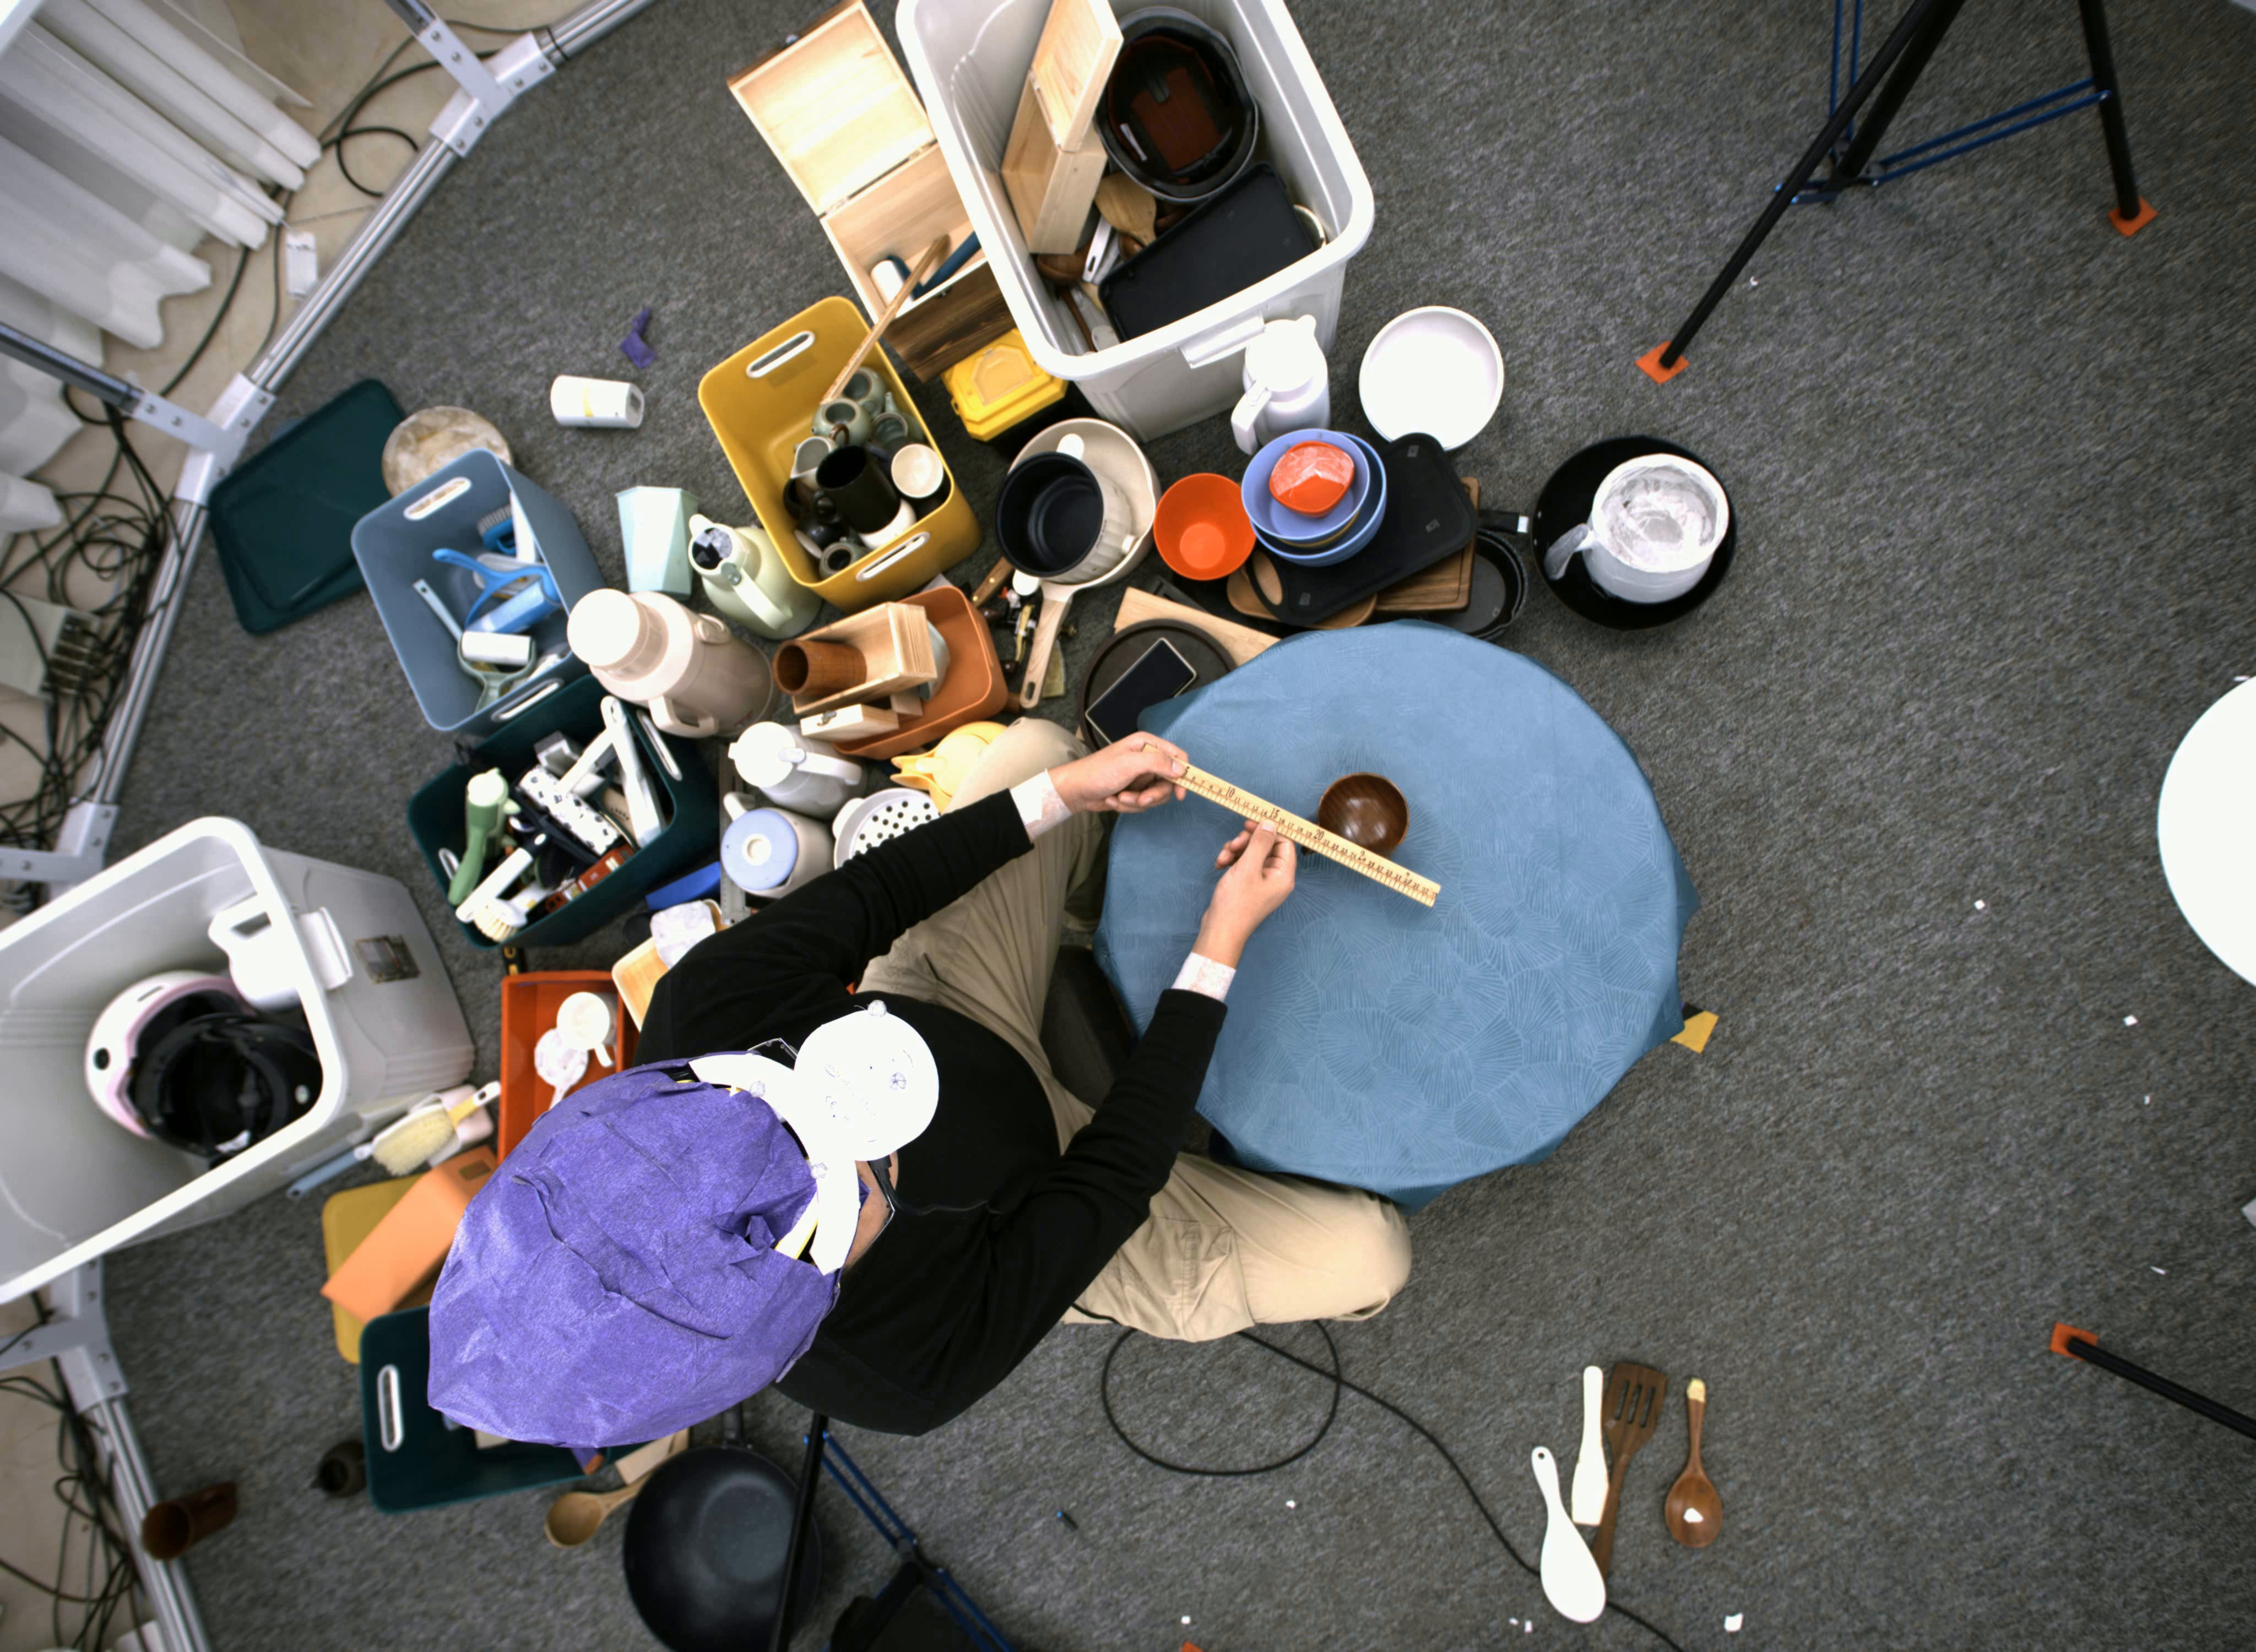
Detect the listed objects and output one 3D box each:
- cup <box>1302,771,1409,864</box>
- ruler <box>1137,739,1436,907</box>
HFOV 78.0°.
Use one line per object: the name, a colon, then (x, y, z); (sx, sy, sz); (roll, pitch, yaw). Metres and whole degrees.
cup: (0.234, -0.002, 1.438); (0.120, 0.067, 0.095); (-31, 83, 9)
ruler: (0.160, -0.006, 1.406); (0.331, 0.022, 0.027); (27, 70, 7)
